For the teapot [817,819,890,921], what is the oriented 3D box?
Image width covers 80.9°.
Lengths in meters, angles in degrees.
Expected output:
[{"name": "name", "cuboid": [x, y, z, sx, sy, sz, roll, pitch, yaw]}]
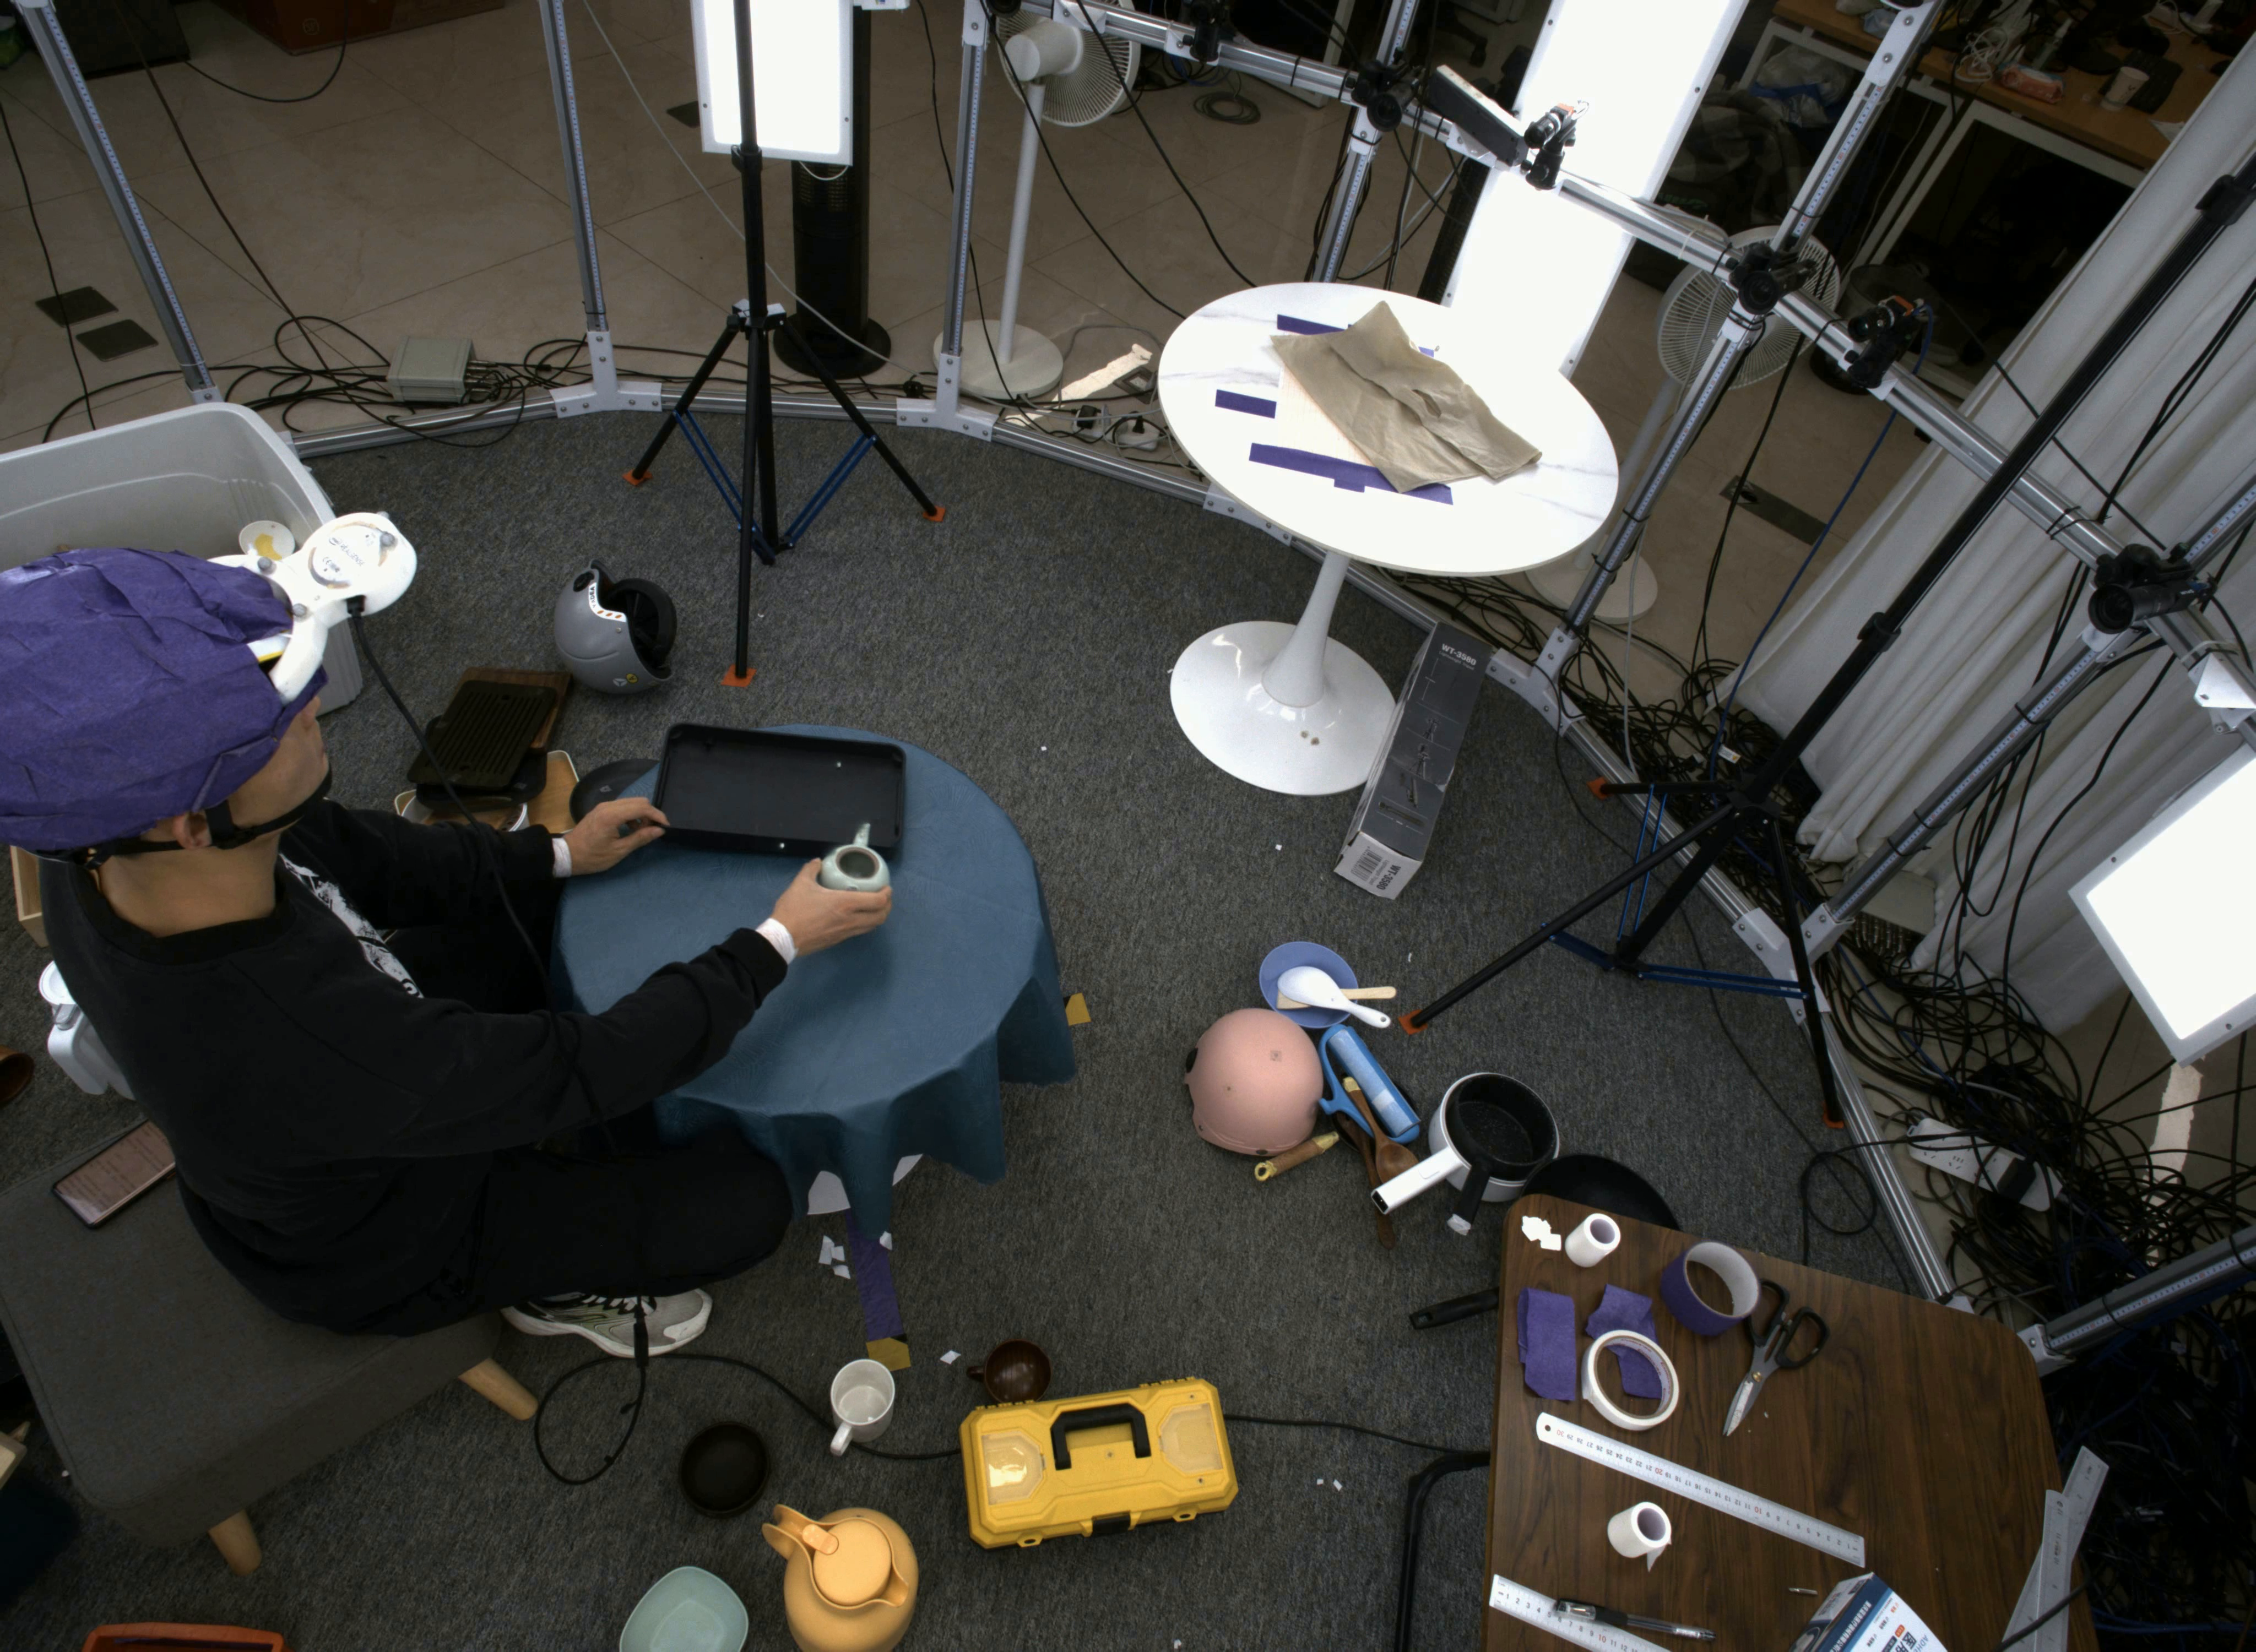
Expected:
[{"name": "teapot", "cuboid": [-0.334, 0.062, 1.582, 0.089, 0.076, 0.141, 14, 42, -12]}]

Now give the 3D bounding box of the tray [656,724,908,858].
[{"name": "tray", "cuboid": [-0.451, -0.047, 1.712, 0.319, 0.038, 0.180, 4, 51, -16]}]
